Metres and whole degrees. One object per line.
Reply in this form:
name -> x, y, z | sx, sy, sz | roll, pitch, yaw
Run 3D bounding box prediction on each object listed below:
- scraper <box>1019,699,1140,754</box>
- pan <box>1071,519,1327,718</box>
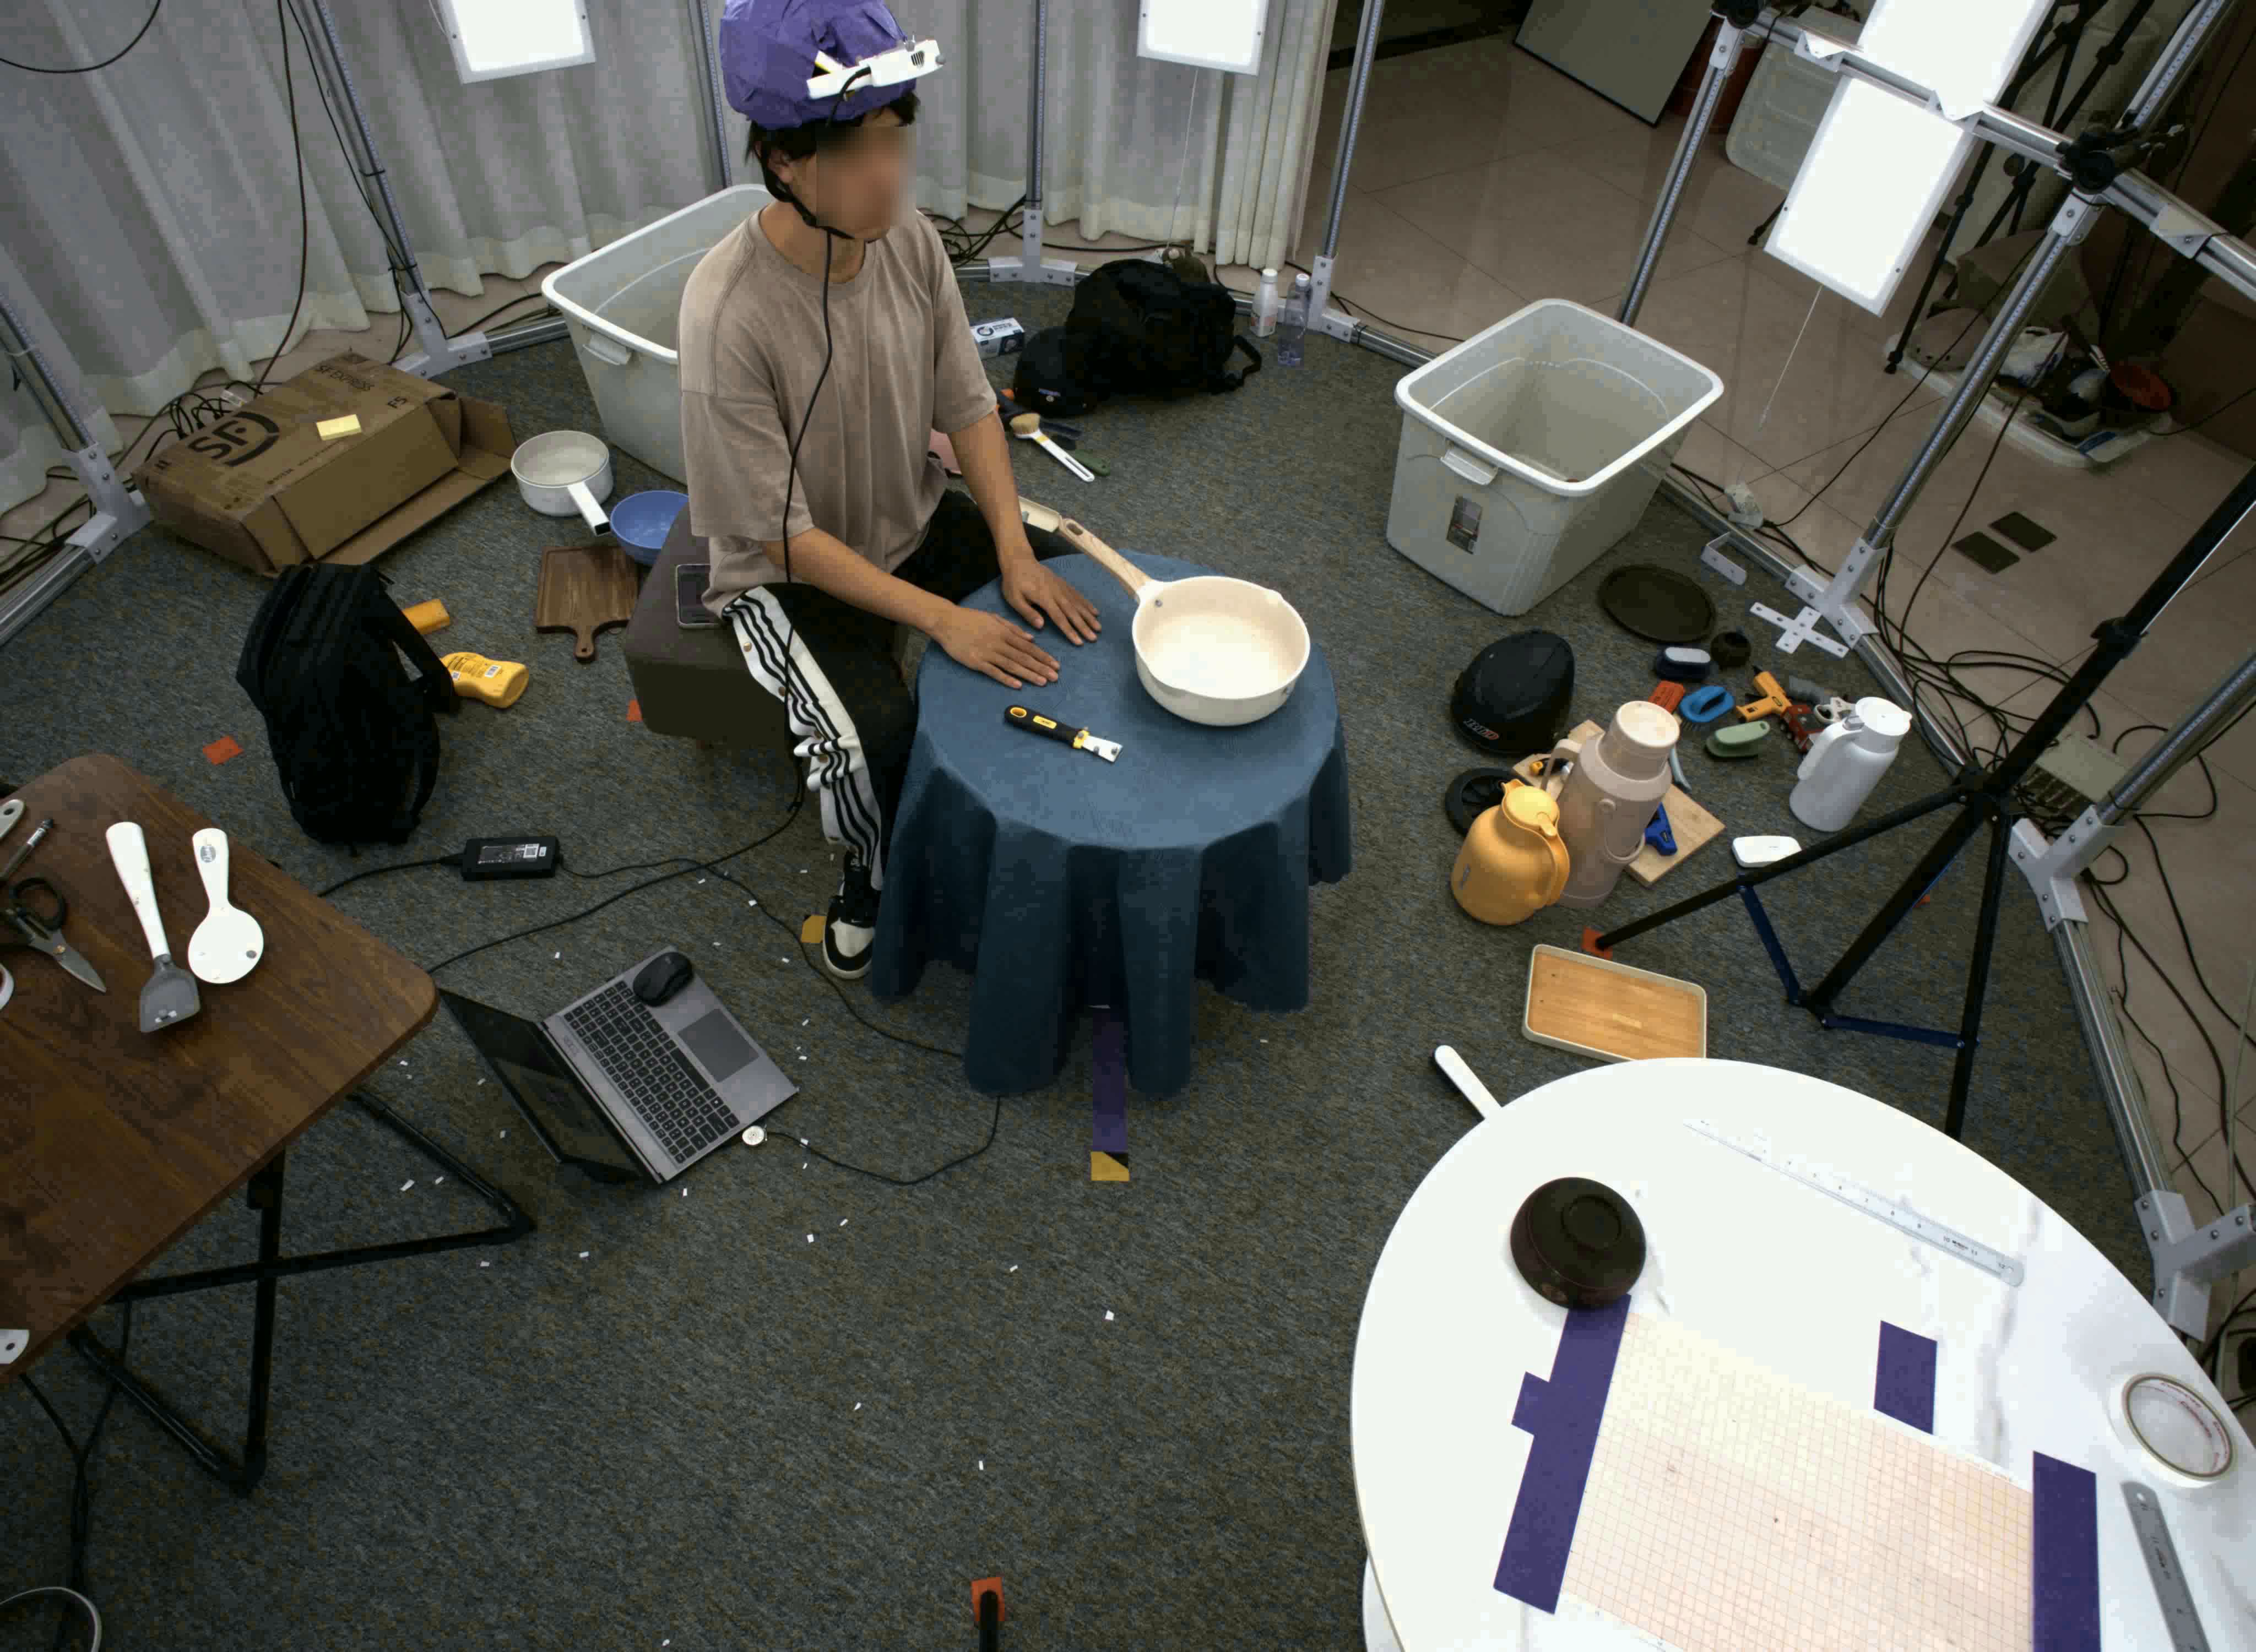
scraper -> -0.069, -0.137, 1.754 | 0.171, 0.014, 0.039 | 19, 53, 9
pan -> 0.084, -0.310, 1.872 | 0.440, 0.099, 0.266 | 35, 57, 24
